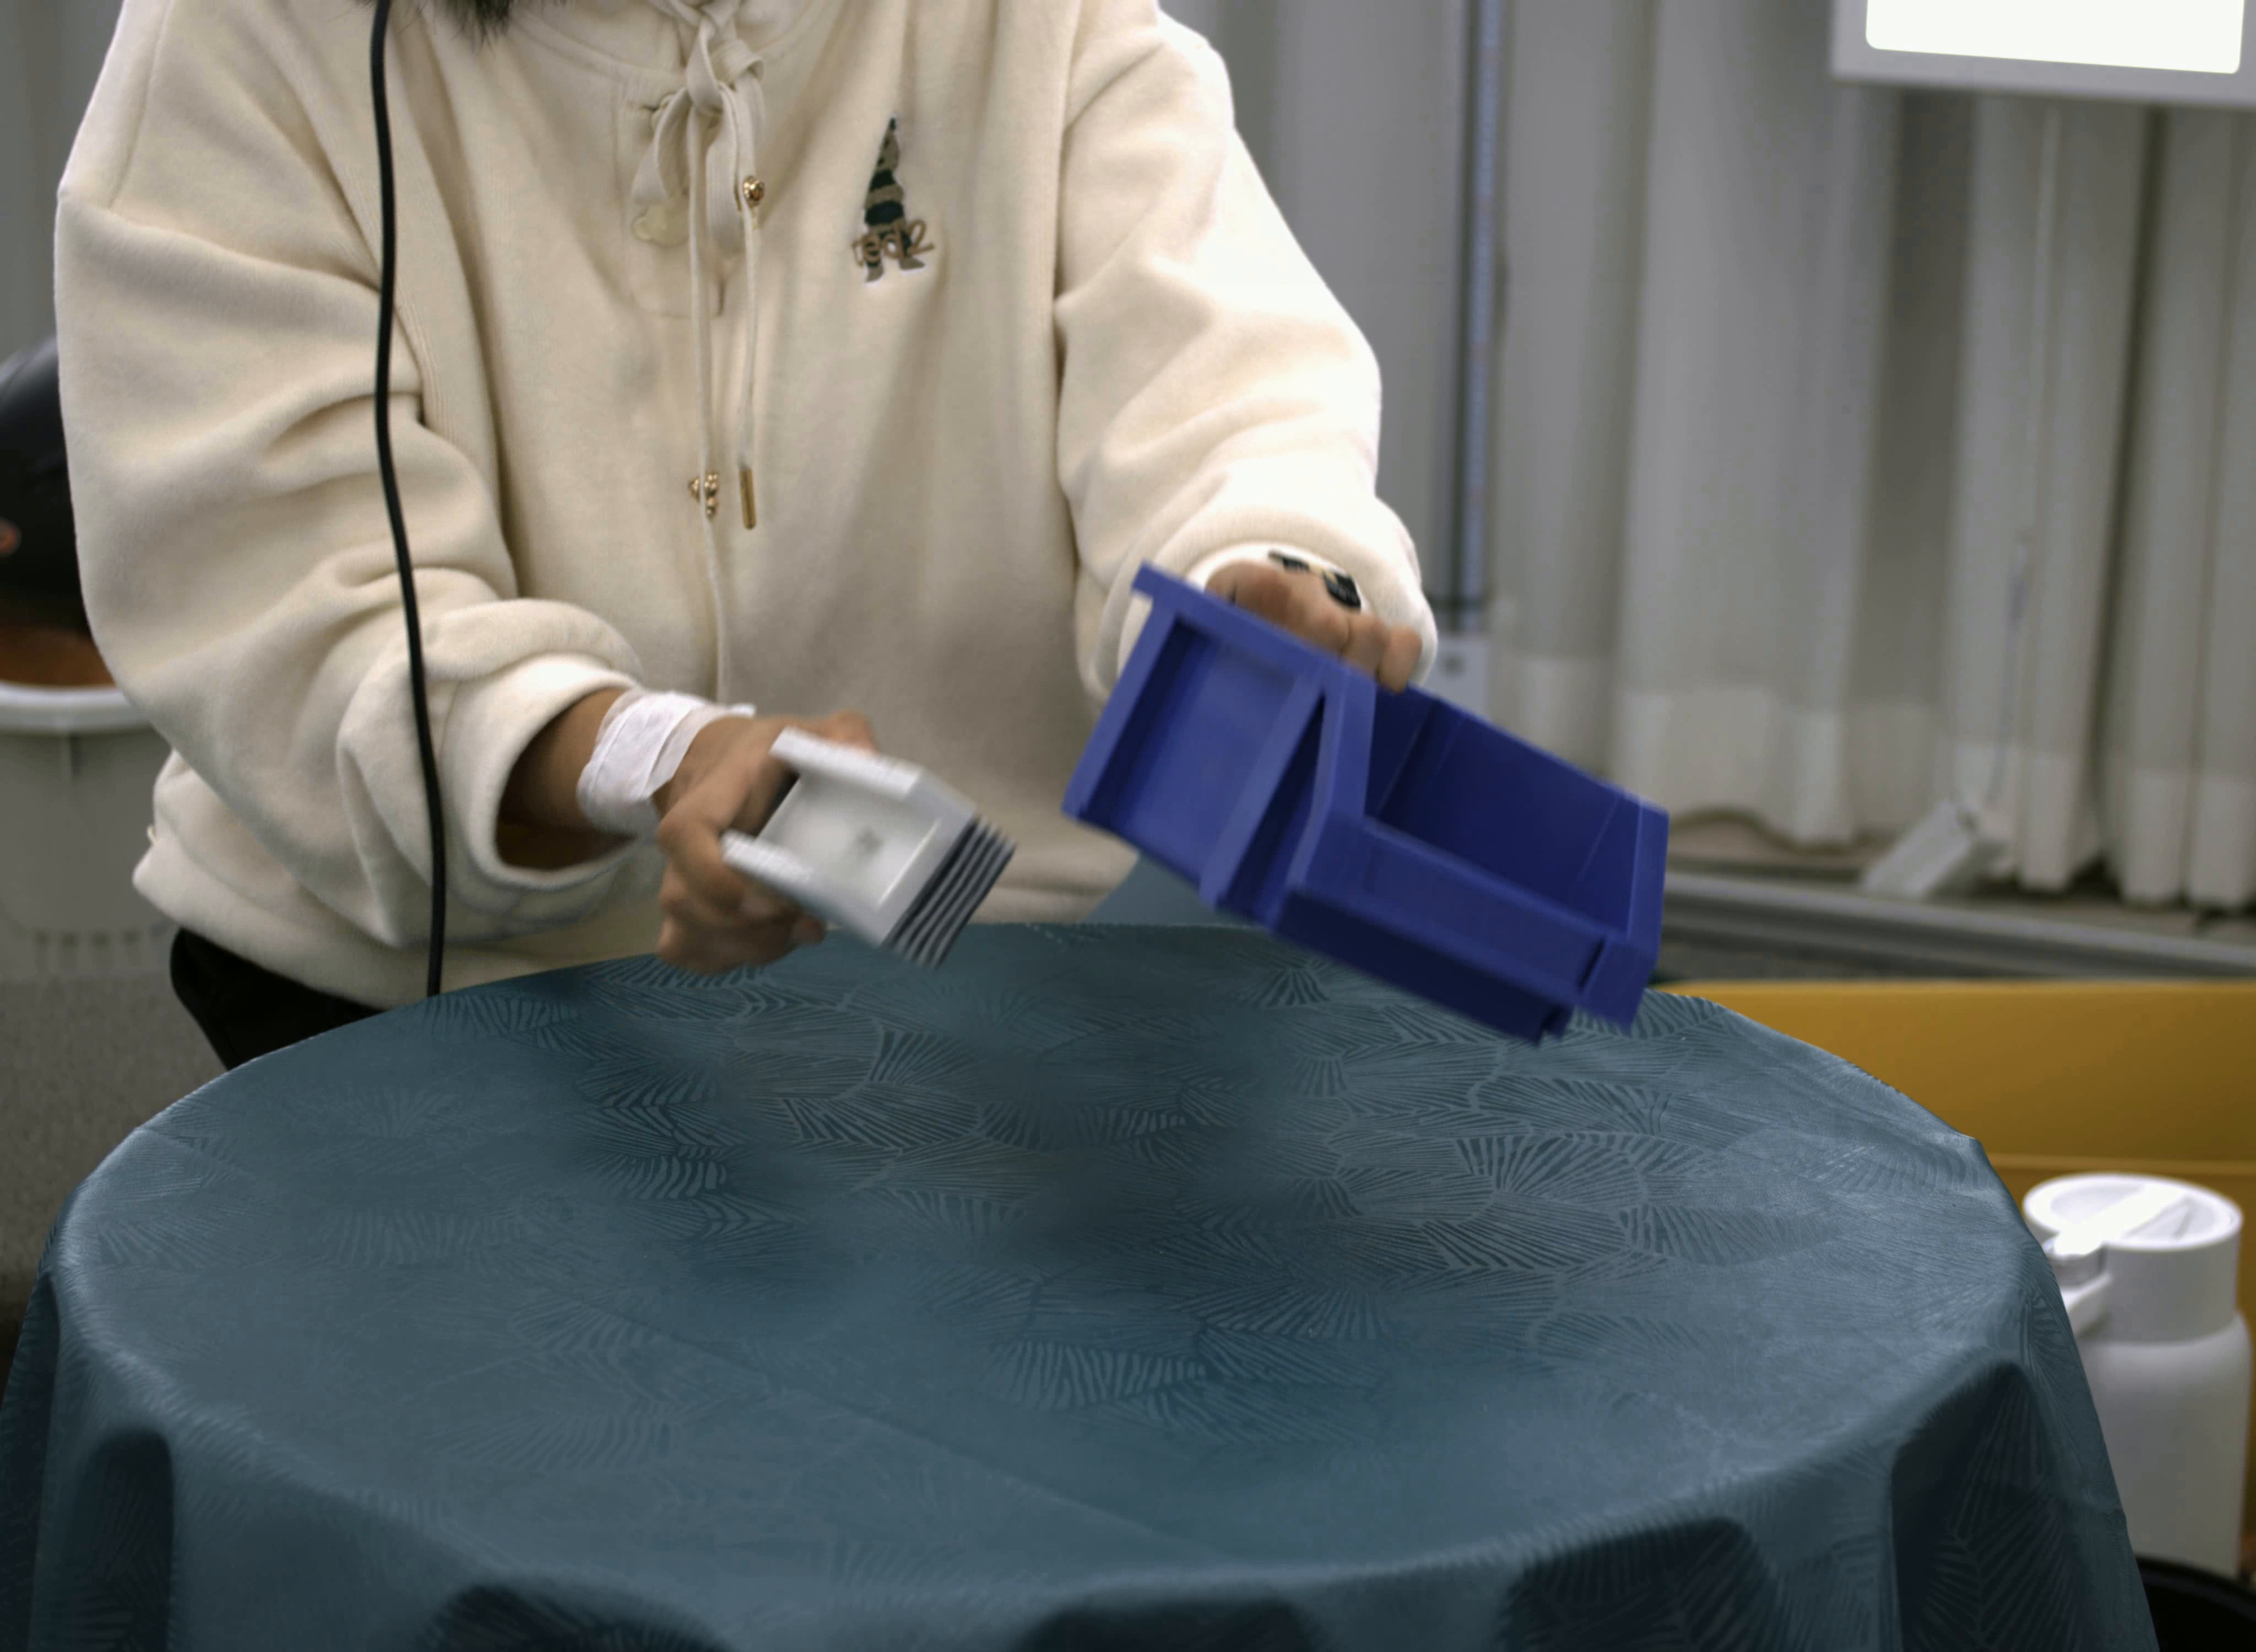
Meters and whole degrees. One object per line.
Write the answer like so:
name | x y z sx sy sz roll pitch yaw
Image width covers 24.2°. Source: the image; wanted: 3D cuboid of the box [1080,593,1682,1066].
box | 0.077 0.004 1.559 0.125 0.082 0.177 23 2 -26

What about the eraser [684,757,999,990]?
eraser | -0.089 0.014 1.628 0.047 0.050 0.133 38 -10 -22
